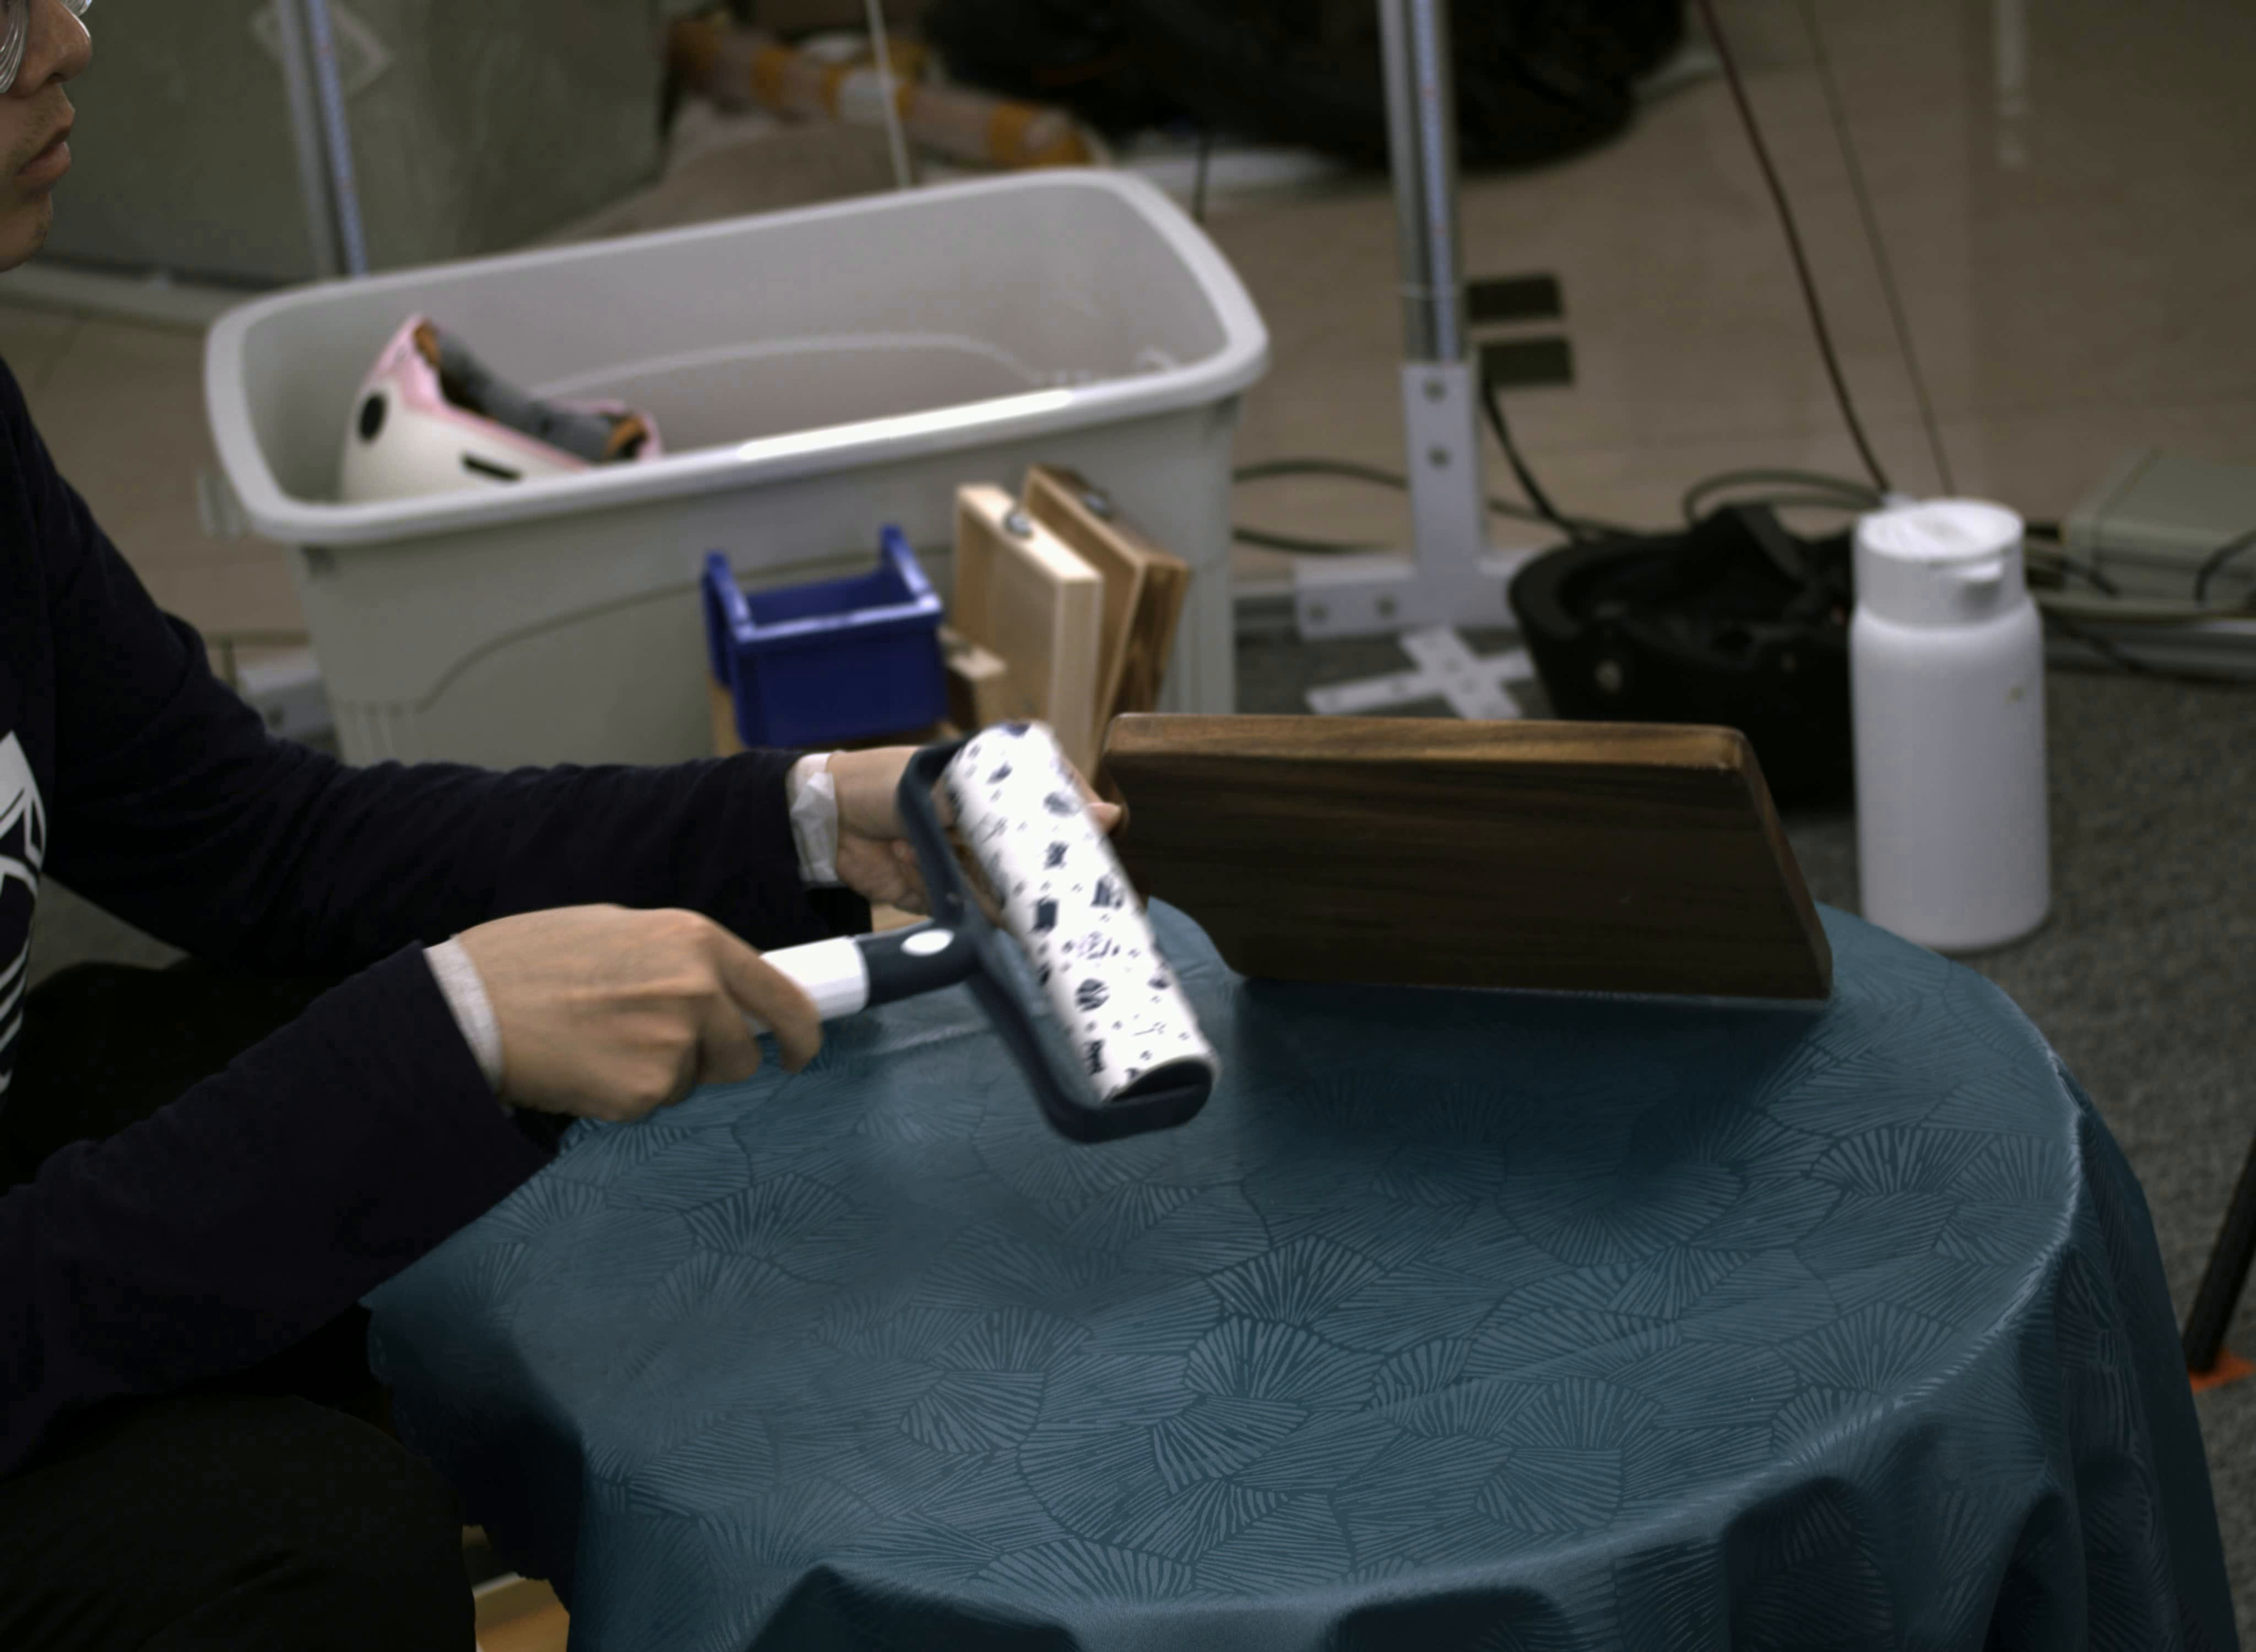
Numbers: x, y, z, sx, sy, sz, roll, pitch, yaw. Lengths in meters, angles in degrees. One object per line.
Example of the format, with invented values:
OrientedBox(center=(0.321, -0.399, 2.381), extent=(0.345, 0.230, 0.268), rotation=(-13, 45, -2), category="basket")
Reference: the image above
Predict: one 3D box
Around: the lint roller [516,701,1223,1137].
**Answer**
OrientedBox(center=(-0.104, 0.053, 2.065), extent=(0.246, 0.051, 0.174), rotation=(-14, 63, -24), category="lint roller")

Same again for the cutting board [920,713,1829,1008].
OrientedBox(center=(0.086, 0.013, 2.204), extent=(0.351, 0.204, 0.023), rotation=(2, 64, 20), category="cutting board")
